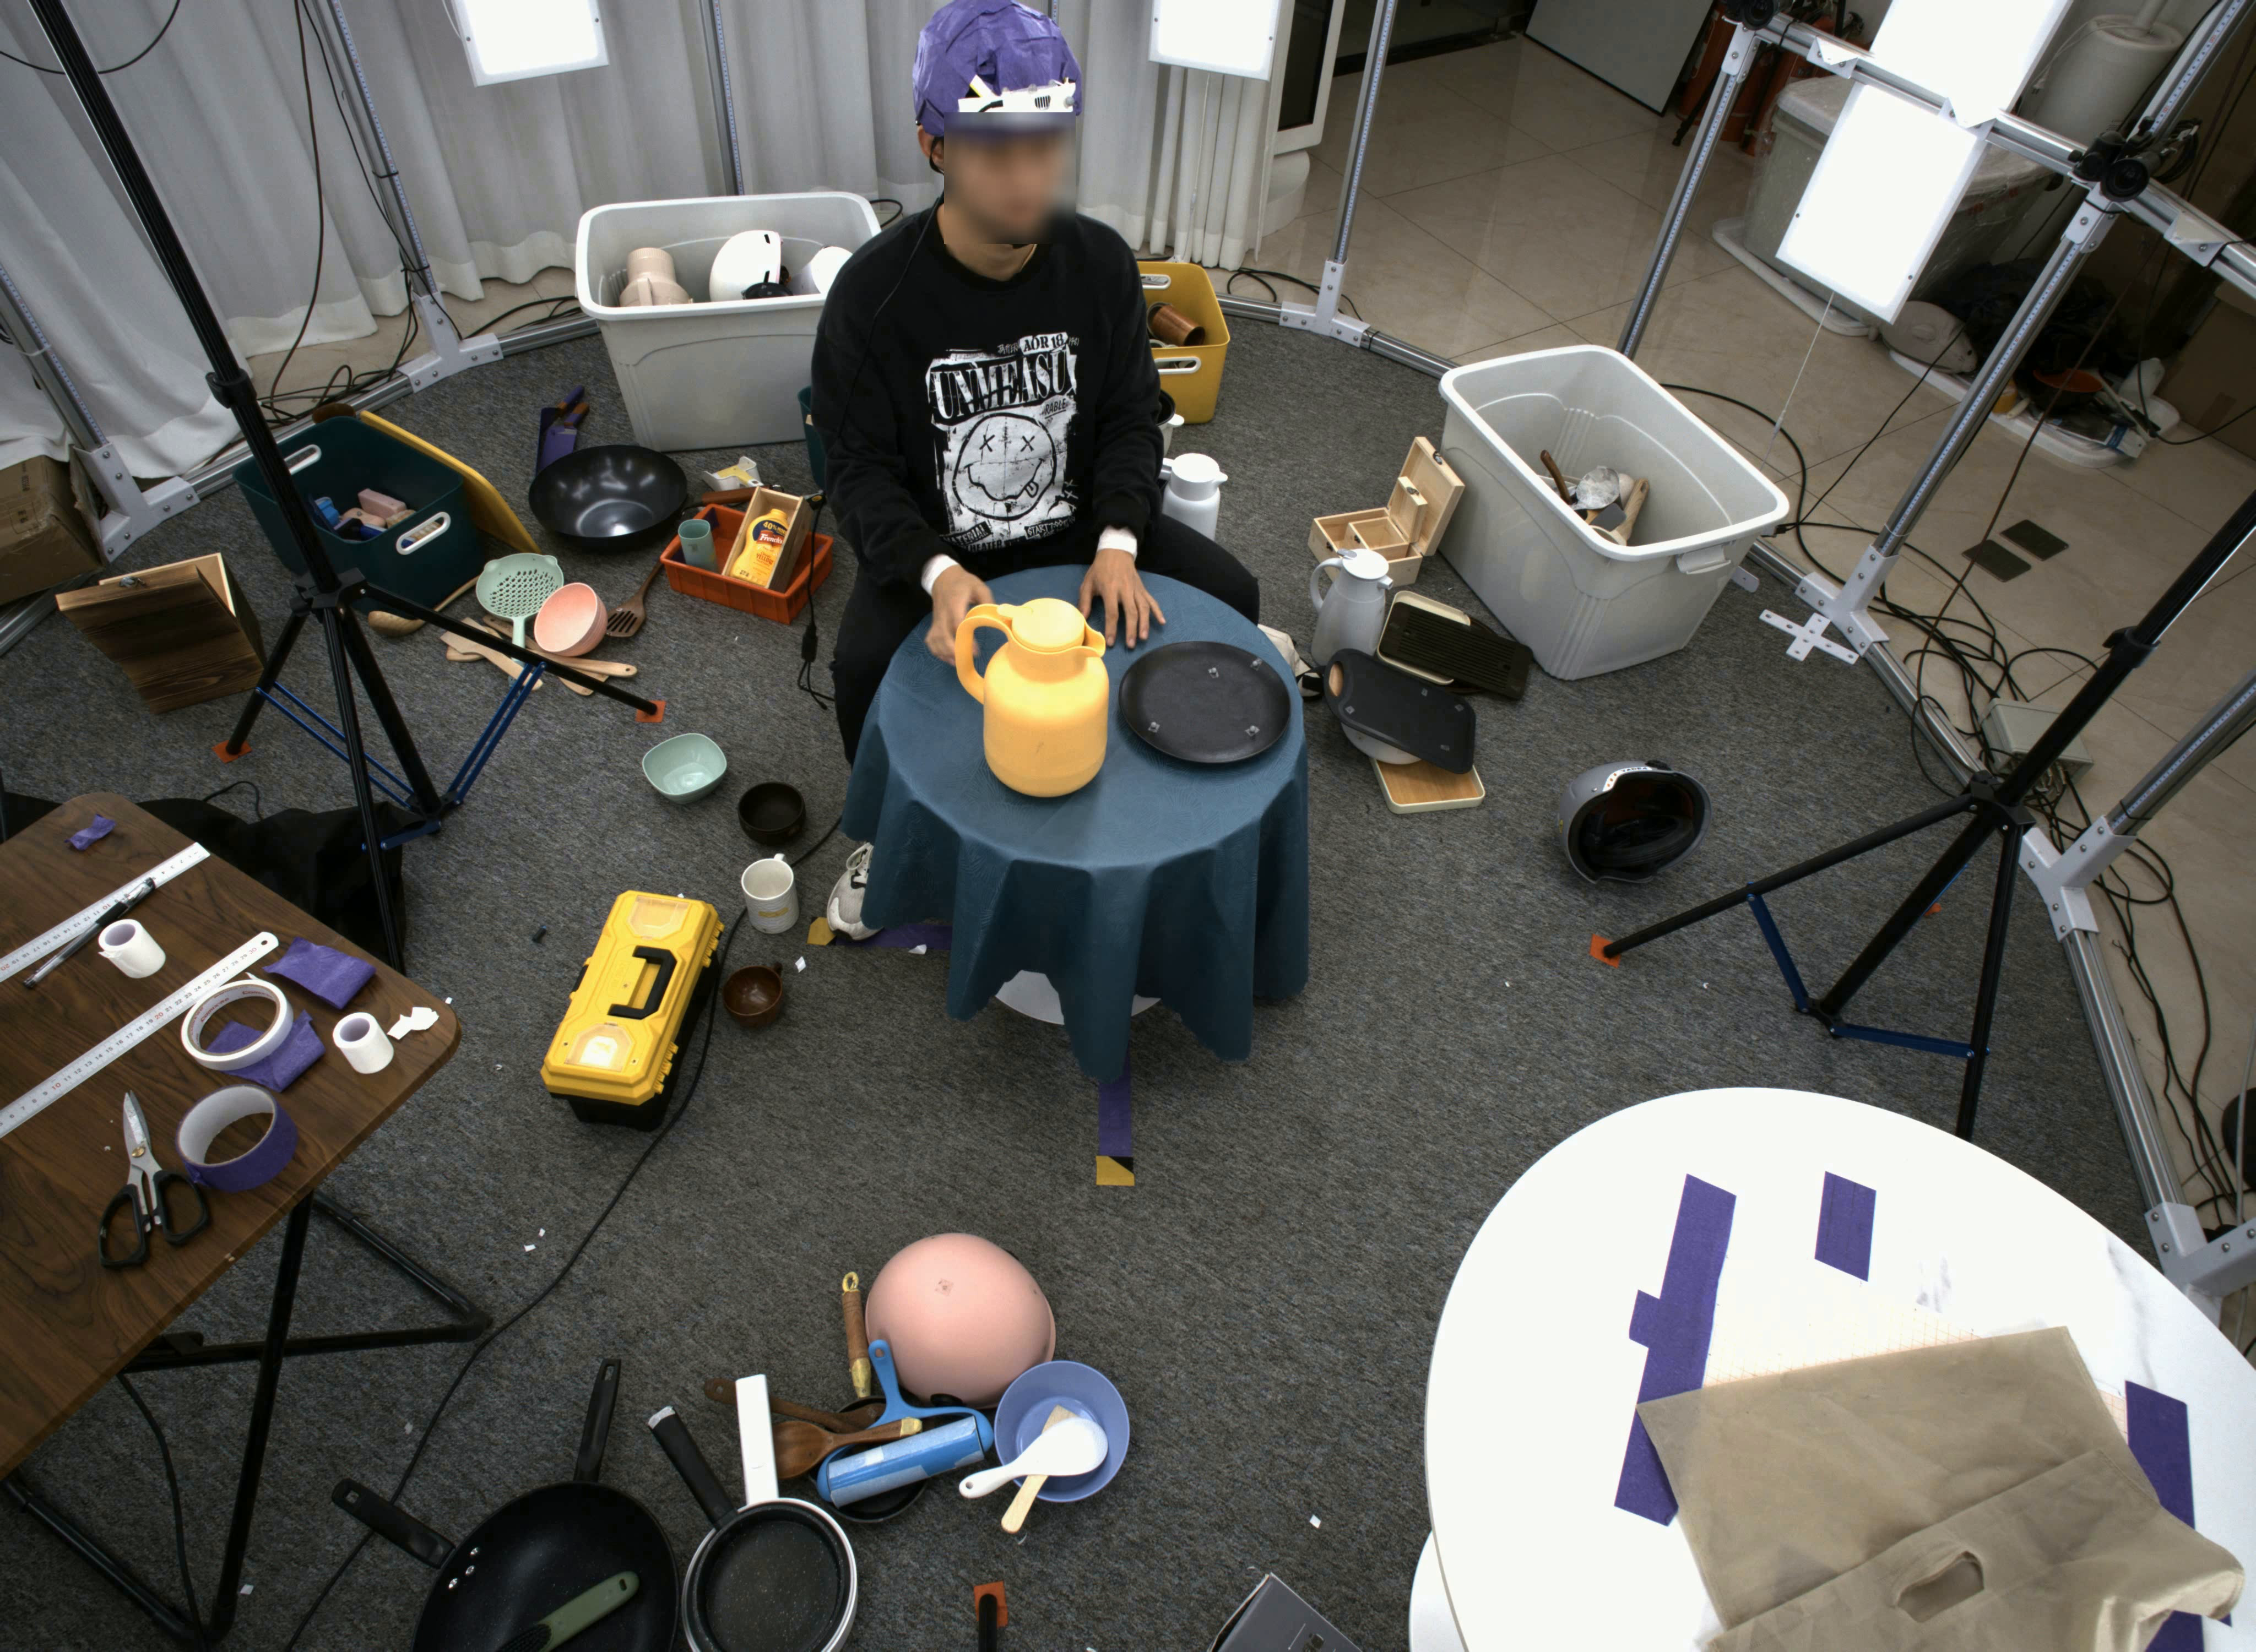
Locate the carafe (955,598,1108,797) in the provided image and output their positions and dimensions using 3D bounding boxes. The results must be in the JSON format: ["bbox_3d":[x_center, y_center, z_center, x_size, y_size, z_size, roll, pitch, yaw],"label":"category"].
[{"bbox_3d":[-0.125,-0.177,1.645,0.203,0.254,0.166,21,49,11],"label":"carafe"}]

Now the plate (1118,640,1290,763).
[{"bbox_3d":[0.107,-0.173,1.810,0.244,0.023,0.250,2,49,-2],"label":"plate"}]
